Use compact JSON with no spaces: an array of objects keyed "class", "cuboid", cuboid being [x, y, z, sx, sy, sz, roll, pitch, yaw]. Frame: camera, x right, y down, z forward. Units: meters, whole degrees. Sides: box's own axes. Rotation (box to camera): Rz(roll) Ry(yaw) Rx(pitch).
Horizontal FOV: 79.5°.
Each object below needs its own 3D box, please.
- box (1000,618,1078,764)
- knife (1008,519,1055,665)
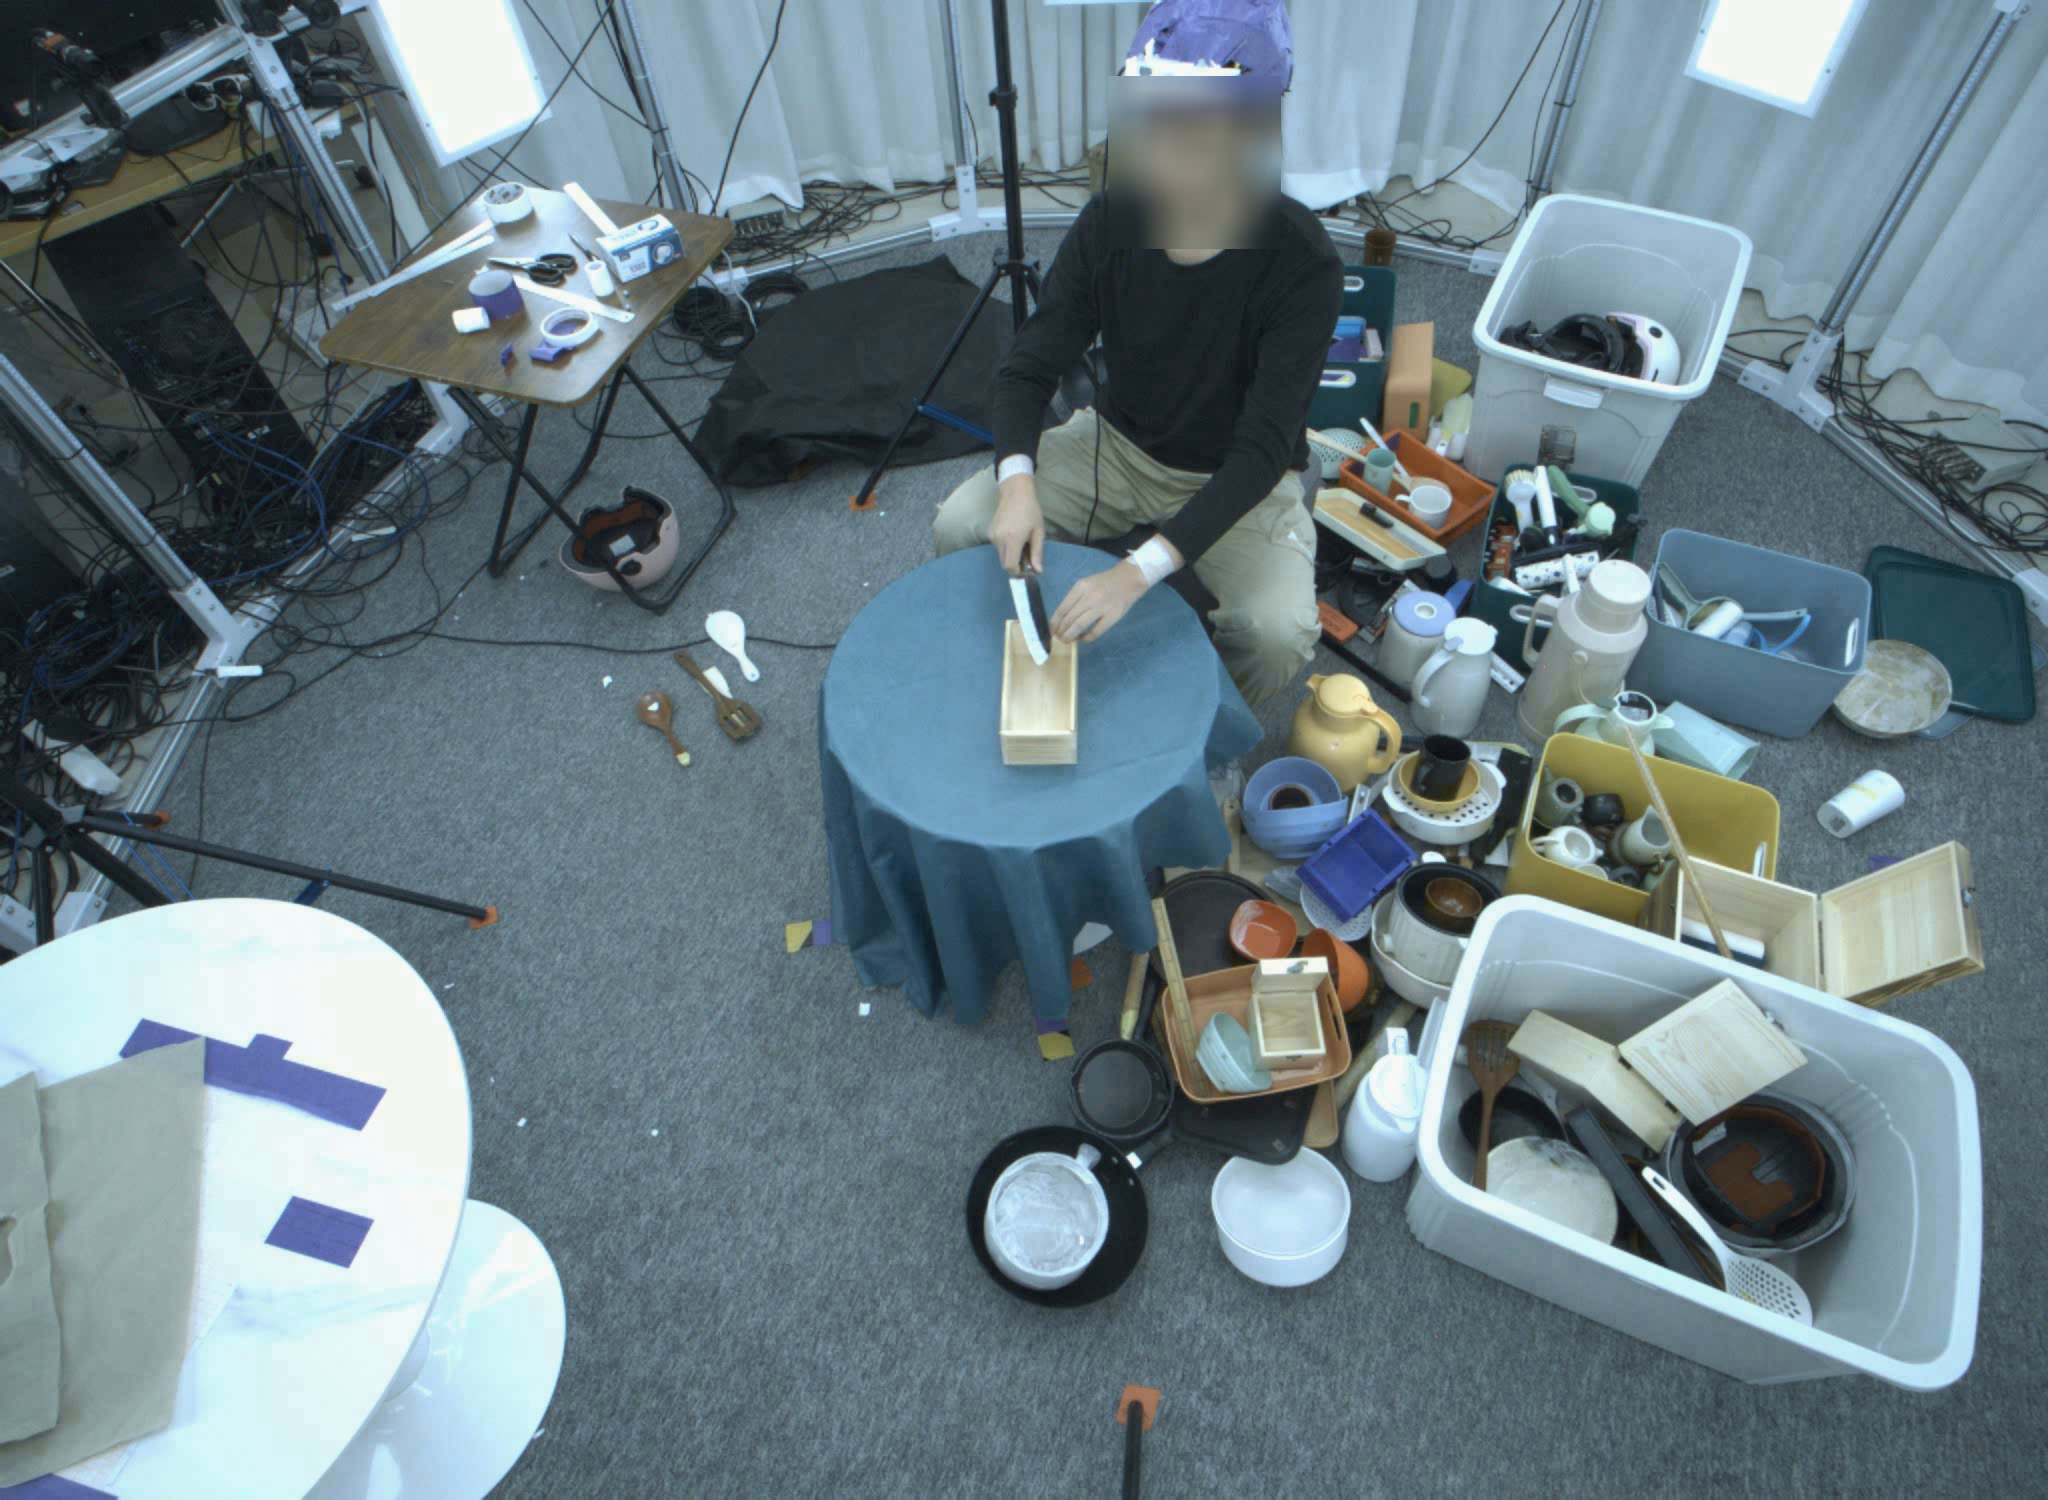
[{"class":"box","cuboid":[0.025,-0.088,1.801,0.107,0.081,0.209,0,55,2]},{"class":"knife","cuboid":[0.006,-0.241,1.847,0.051,0.020,0.285,0,56,-15]}]
